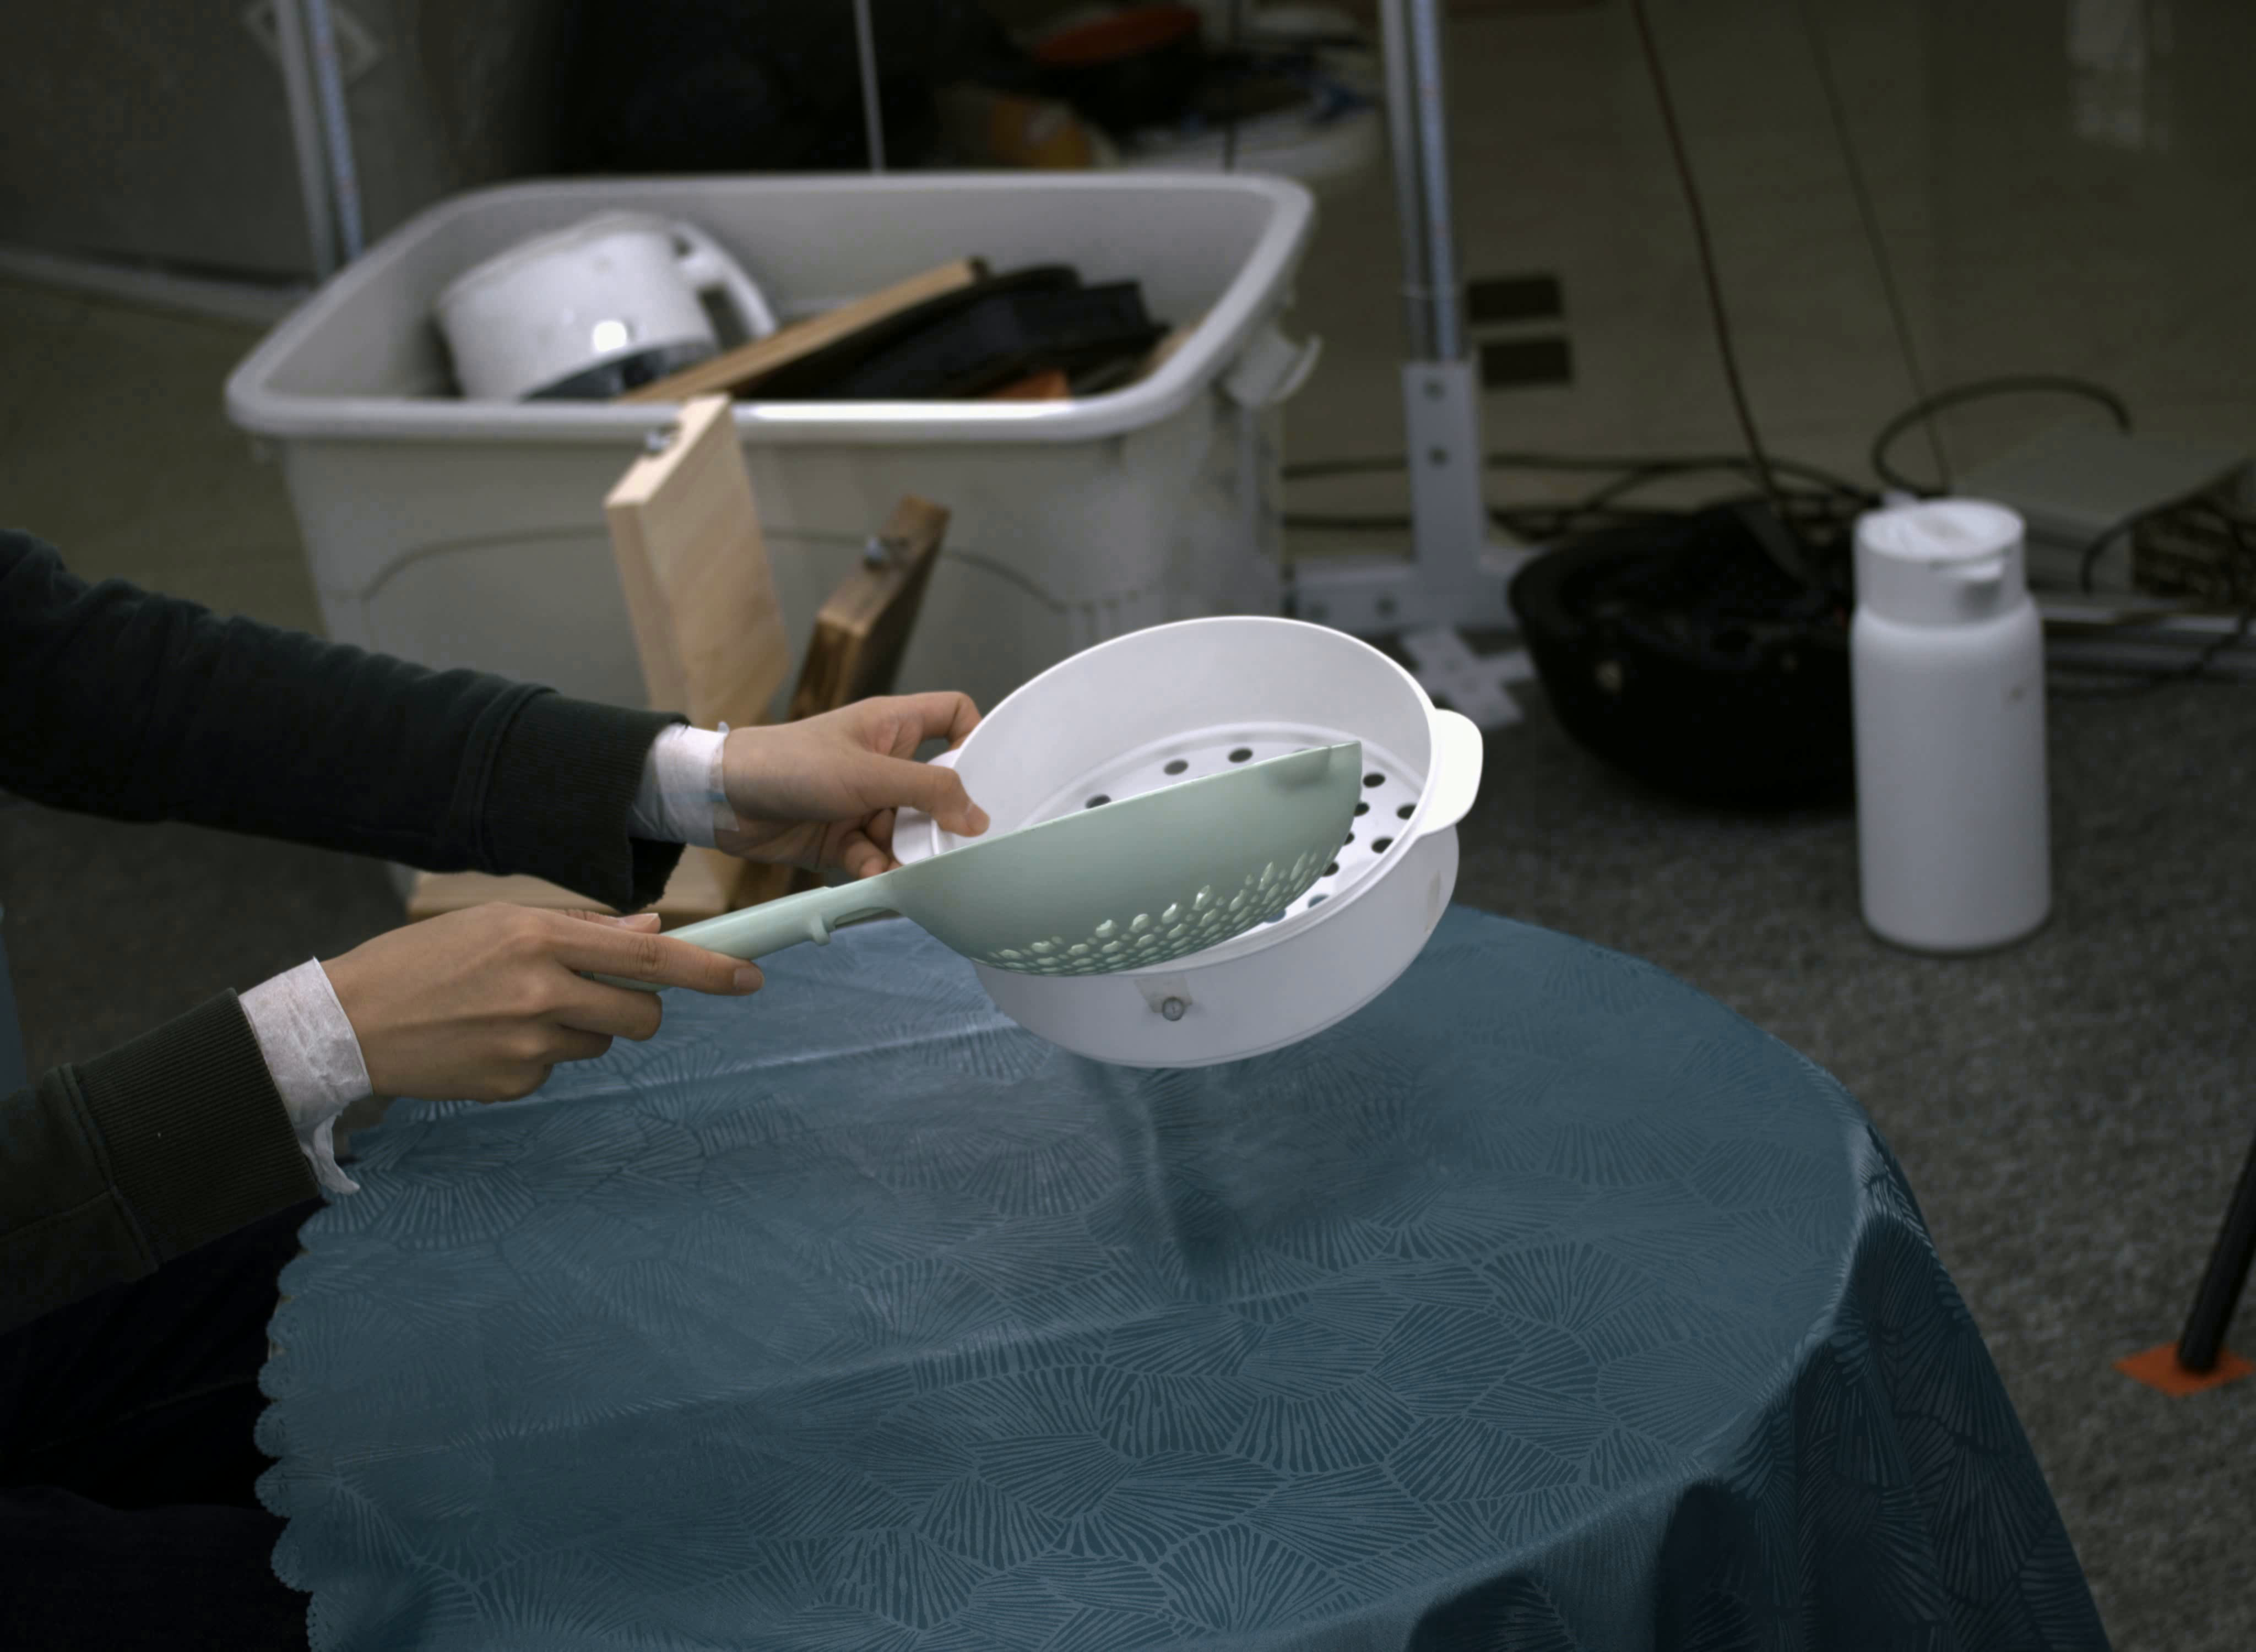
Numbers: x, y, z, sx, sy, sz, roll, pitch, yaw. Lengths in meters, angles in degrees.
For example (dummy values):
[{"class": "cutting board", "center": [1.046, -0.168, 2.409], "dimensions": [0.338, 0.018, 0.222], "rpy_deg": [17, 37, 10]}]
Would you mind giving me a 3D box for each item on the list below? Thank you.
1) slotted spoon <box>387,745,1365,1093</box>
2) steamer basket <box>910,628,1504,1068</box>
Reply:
[{"class": "slotted spoon", "center": [-0.089, 0.033, 1.998], "dimensions": [0.358, 0.075, 0.169], "rpy_deg": [-8, -2, 1]}, {"class": "steamer basket", "center": [0.034, 0.008, 2.169], "dimensions": [0.230, 0.070, 0.198], "rpy_deg": [-5, 38, 12]}]
